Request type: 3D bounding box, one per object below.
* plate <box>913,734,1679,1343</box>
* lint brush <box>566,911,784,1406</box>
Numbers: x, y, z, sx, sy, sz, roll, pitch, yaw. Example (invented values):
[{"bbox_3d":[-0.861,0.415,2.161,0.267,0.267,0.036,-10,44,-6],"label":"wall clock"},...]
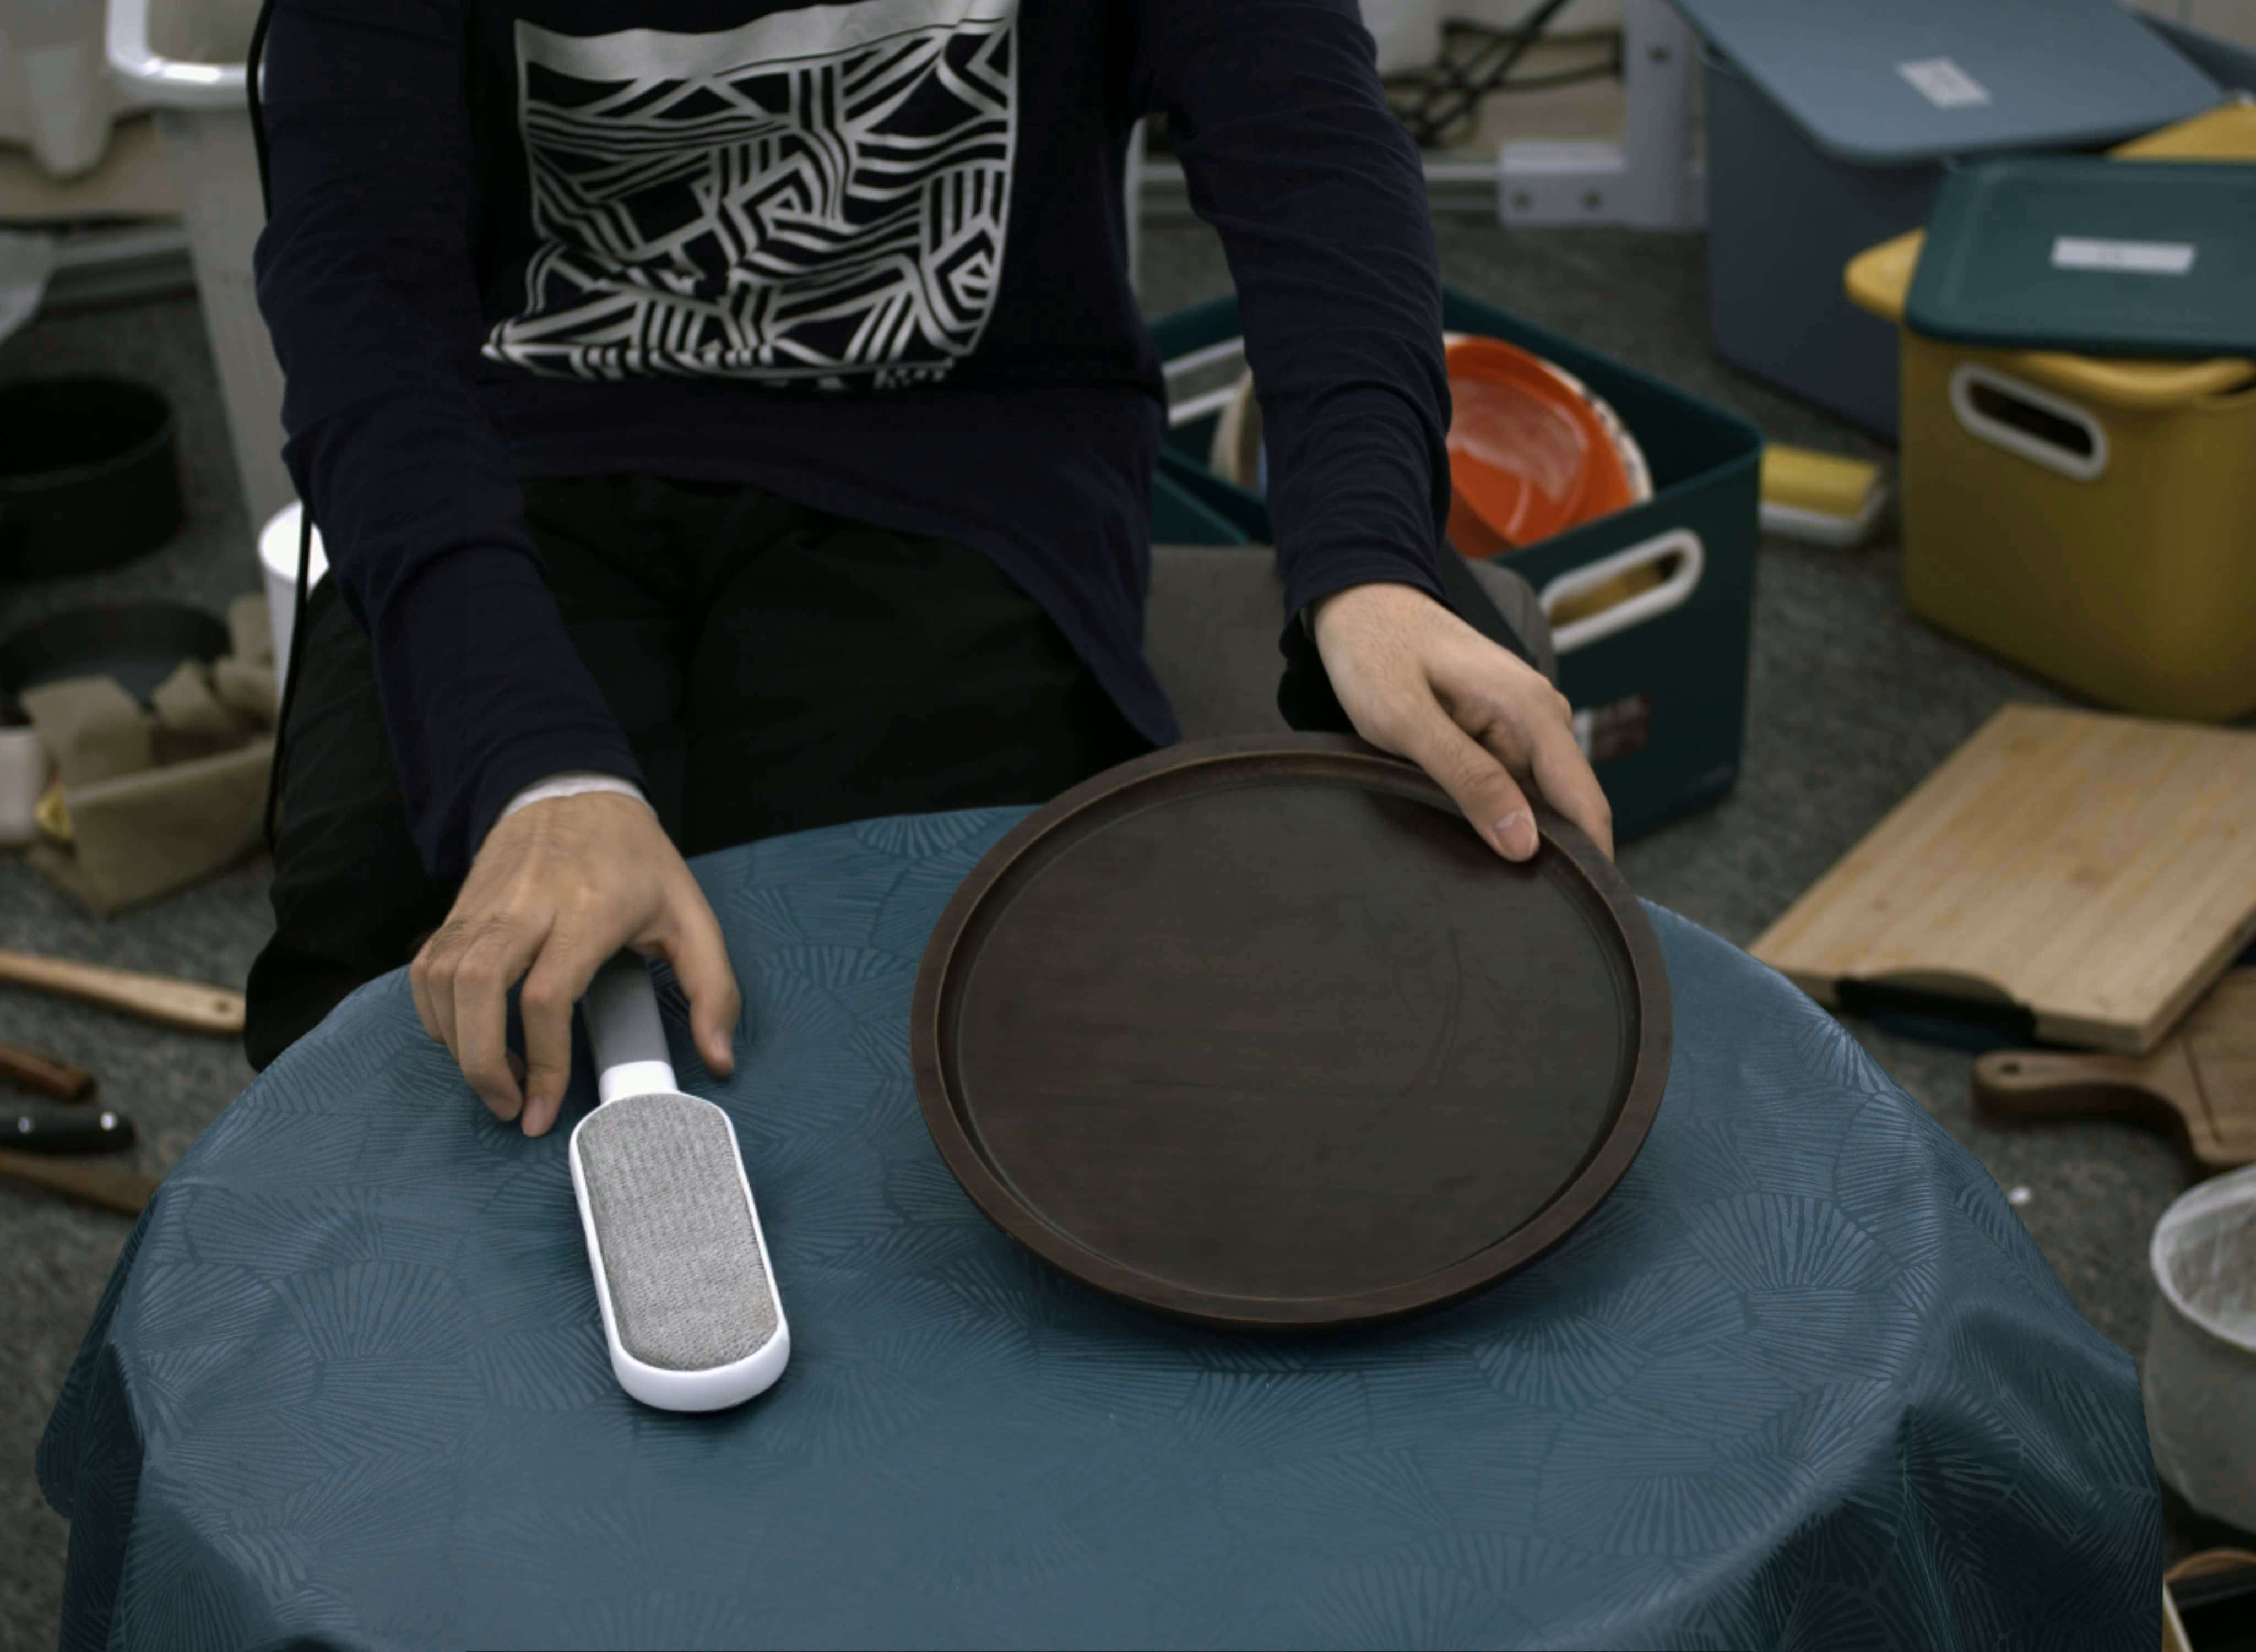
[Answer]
[{"bbox_3d":[0.055,0.068,1.852,0.253,0.028,0.260,0,47,0],"label":"plate"},{"bbox_3d":[-0.158,0.106,1.877,0.060,0.021,0.312,-12,28,-6],"label":"lint brush"}]
